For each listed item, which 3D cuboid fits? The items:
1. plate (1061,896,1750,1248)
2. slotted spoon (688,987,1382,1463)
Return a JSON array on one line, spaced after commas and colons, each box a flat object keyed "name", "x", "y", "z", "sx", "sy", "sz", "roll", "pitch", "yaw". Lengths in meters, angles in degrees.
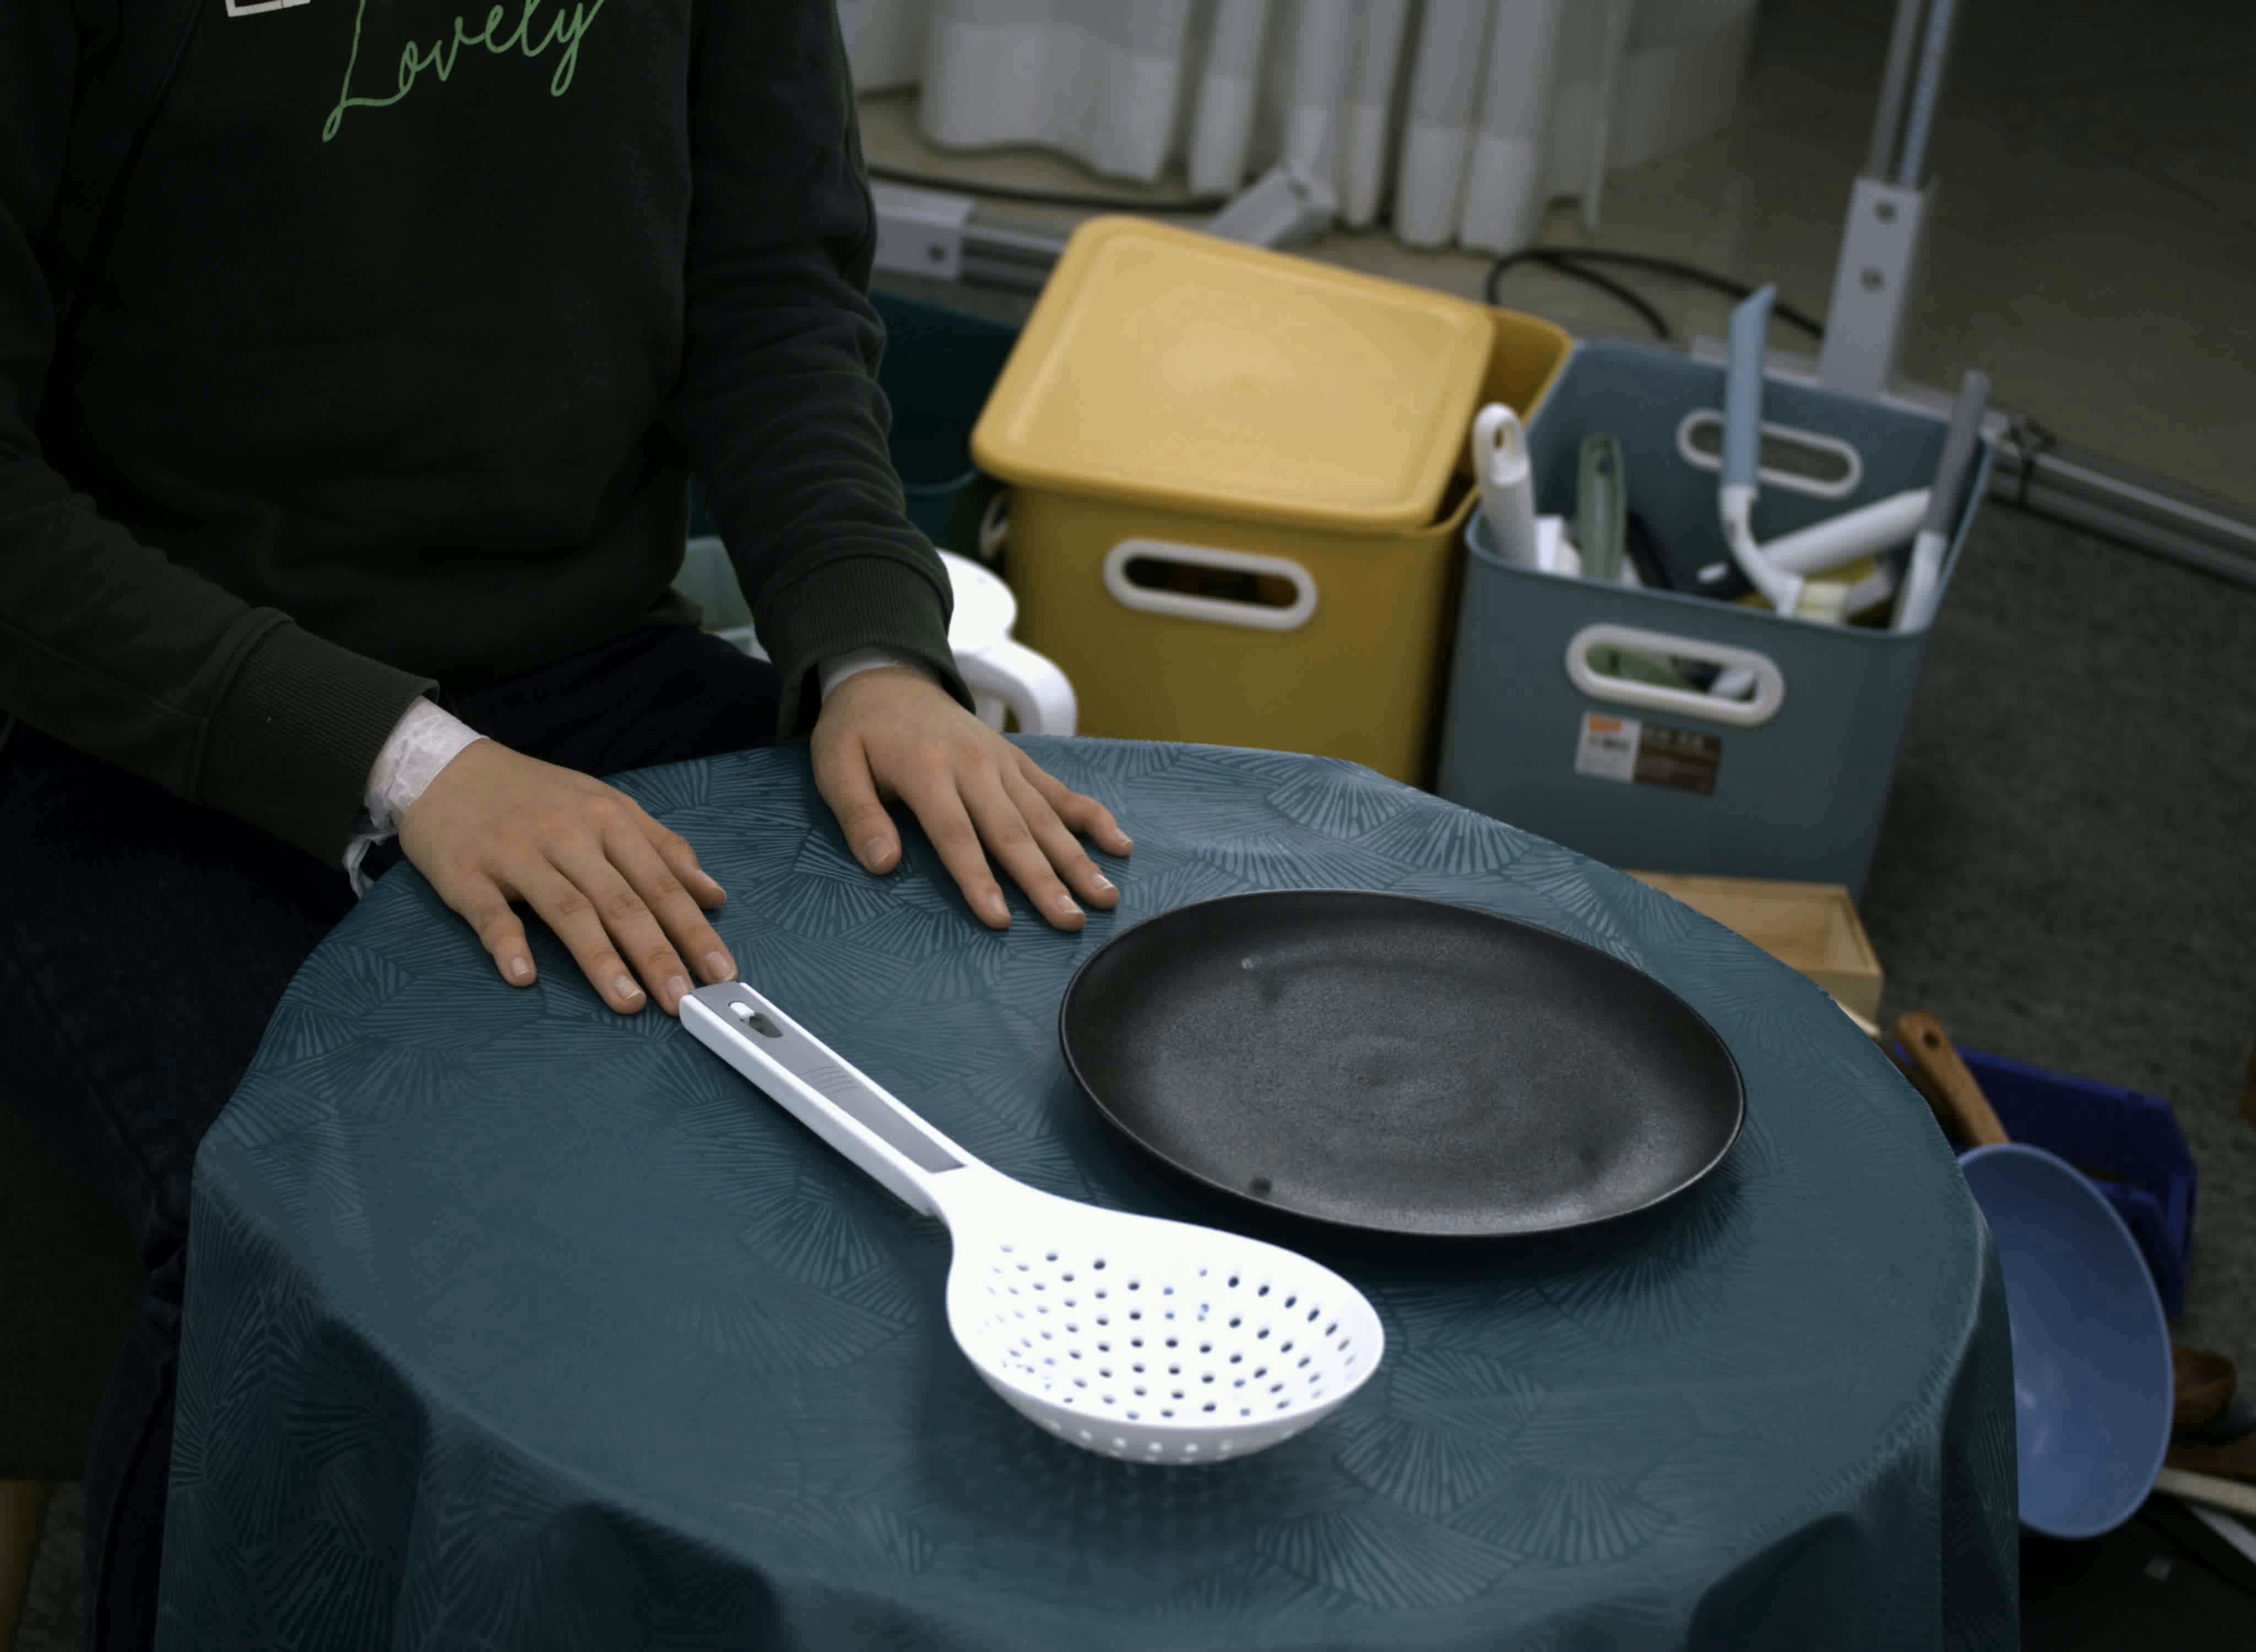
[{"name": "plate", "x": 0.096, "y": 0.090, "z": 1.864, "sx": 0.243, "sy": 0.023, "sz": 0.246, "roll": 5, "pitch": 26, "yaw": -3}, {"name": "slotted spoon", "x": -0.049, "y": 0.124, "z": 1.738, "sx": 0.135, "sy": 0.045, "sz": 0.353, "roll": -9, "pitch": 30, "yaw": -33}]
